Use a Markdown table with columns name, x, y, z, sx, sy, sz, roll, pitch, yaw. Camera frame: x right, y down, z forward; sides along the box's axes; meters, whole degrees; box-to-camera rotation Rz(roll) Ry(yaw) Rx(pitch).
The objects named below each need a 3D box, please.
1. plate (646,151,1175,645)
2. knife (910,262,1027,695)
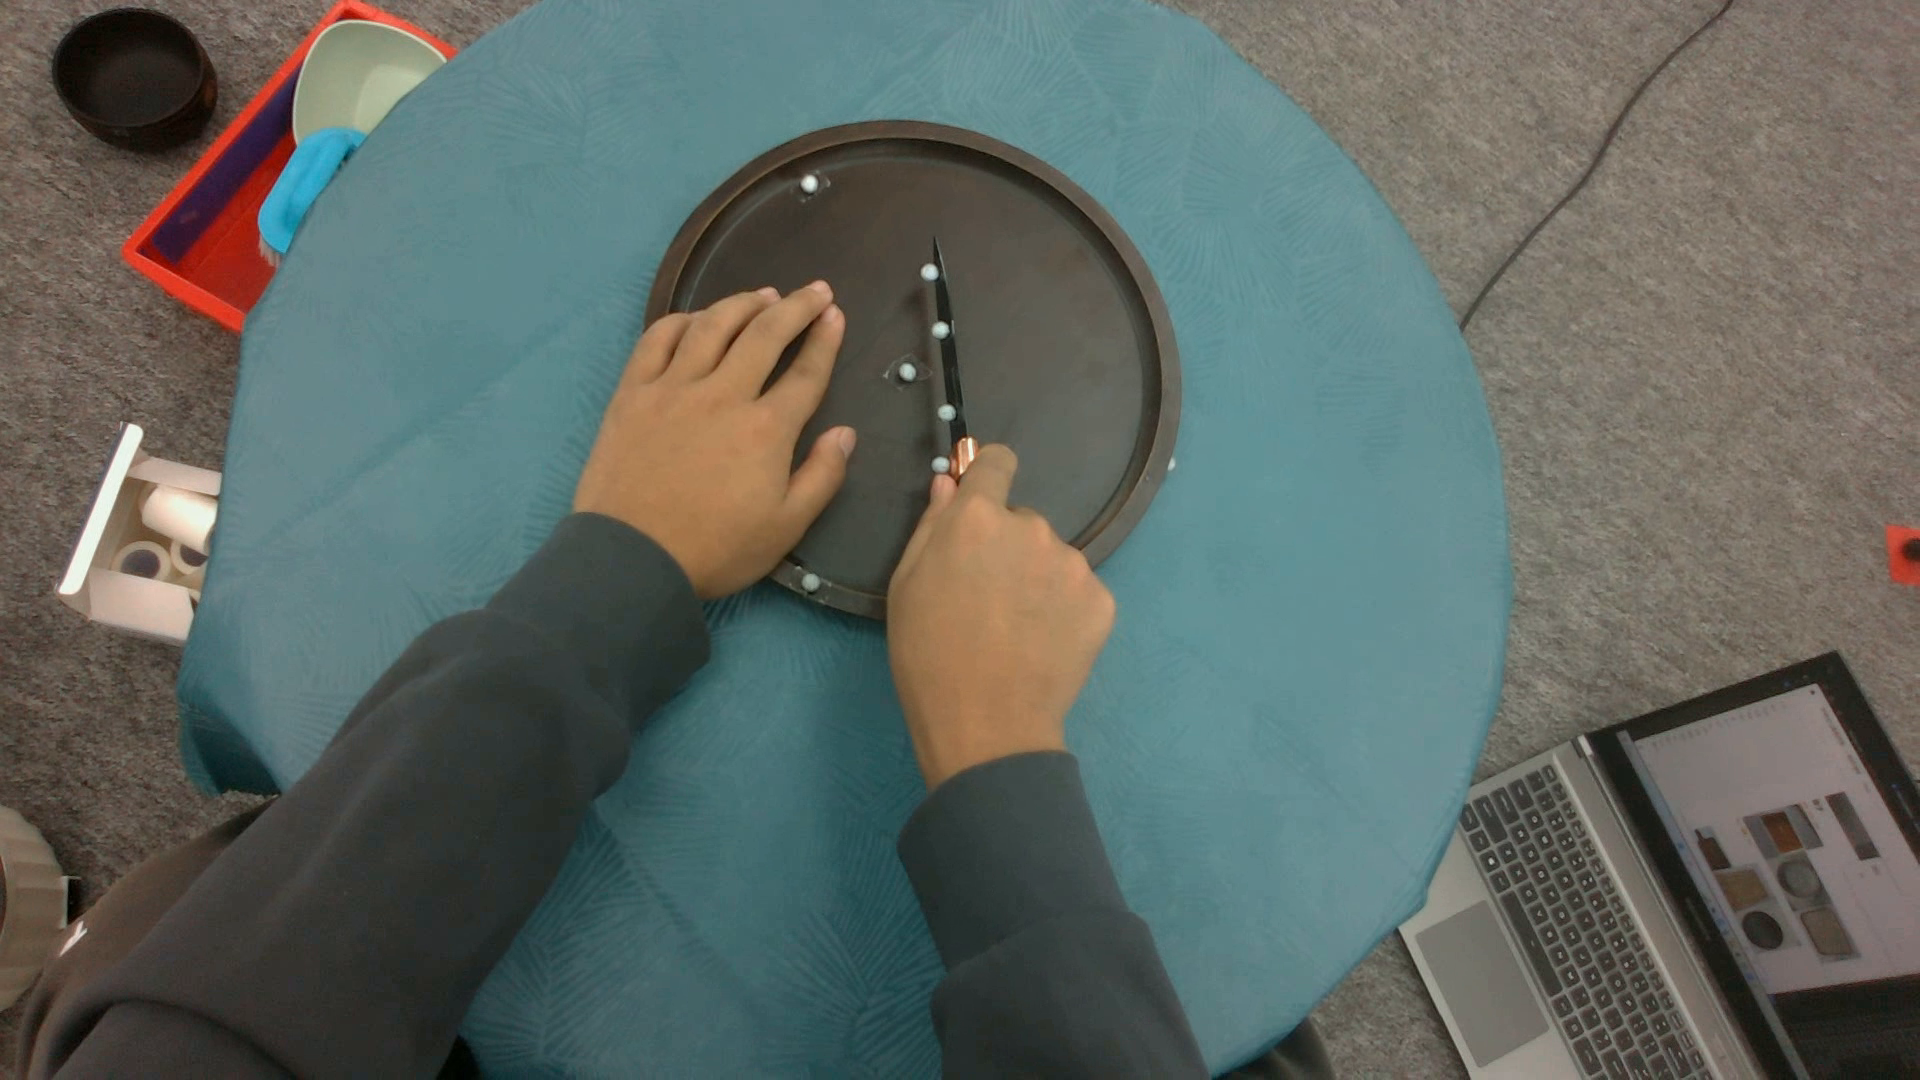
| name | x | y | z | sx | sy | sz | roll | pitch | yaw |
| --- | --- | --- | --- | --- | --- | --- | --- | --- | --- |
| plate | -0.021 | -0.072 | 0.661 | 0.255 | 0.029 | 0.255 | 3 | 73 | -9 |
| knife | 0.001 | -0.035 | 0.631 | 0.017 | 0.026 | 0.226 | -4 | 68 | -20 |
